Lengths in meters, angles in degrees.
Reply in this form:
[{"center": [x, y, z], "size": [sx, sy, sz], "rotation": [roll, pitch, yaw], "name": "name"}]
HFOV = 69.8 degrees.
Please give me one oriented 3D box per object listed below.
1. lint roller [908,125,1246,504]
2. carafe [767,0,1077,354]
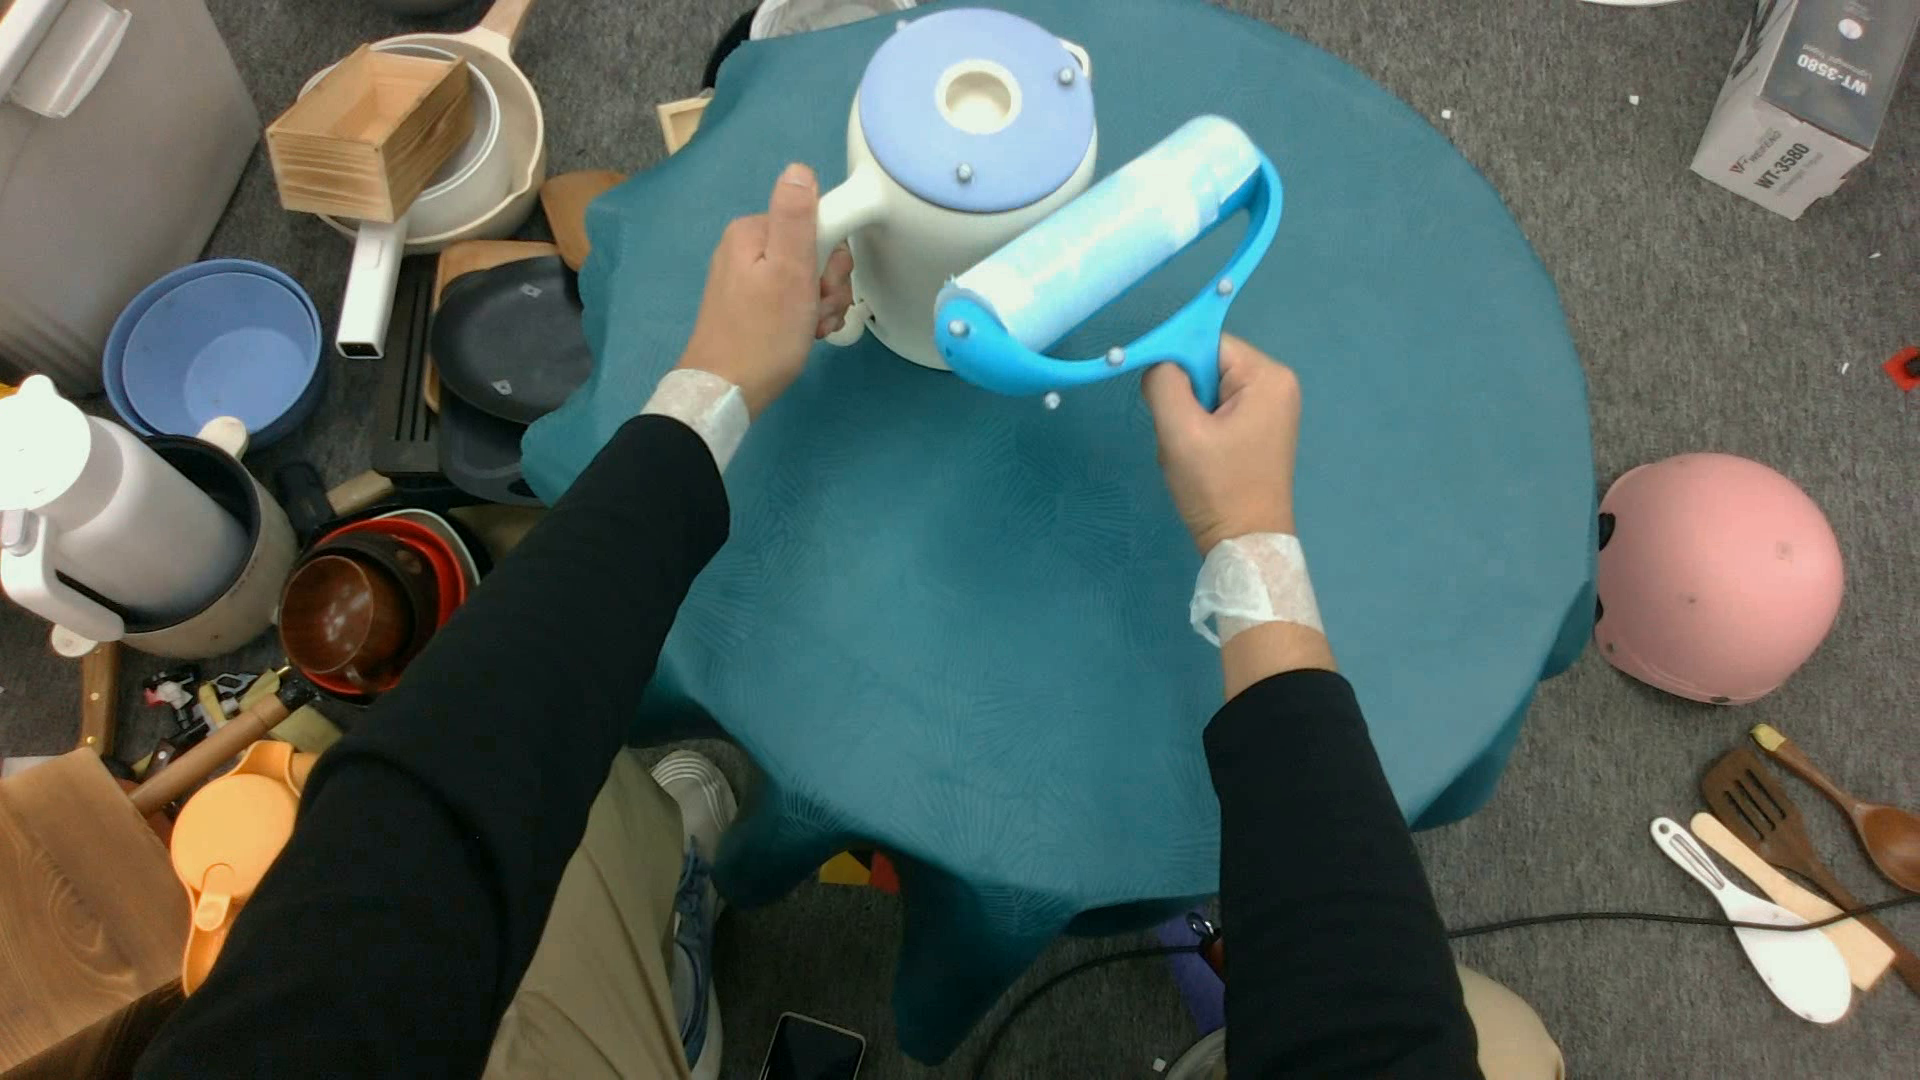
[{"center": [0.092, -0.102, 0.716], "size": [0.230, 0.067, 0.180], "rotation": [-42, 104, -33], "name": "lint roller"}, {"center": [-0.028, -0.183, 0.758], "size": [0.191, 0.182, 0.132], "rotation": [-35, 76, -14], "name": "carafe"}]
